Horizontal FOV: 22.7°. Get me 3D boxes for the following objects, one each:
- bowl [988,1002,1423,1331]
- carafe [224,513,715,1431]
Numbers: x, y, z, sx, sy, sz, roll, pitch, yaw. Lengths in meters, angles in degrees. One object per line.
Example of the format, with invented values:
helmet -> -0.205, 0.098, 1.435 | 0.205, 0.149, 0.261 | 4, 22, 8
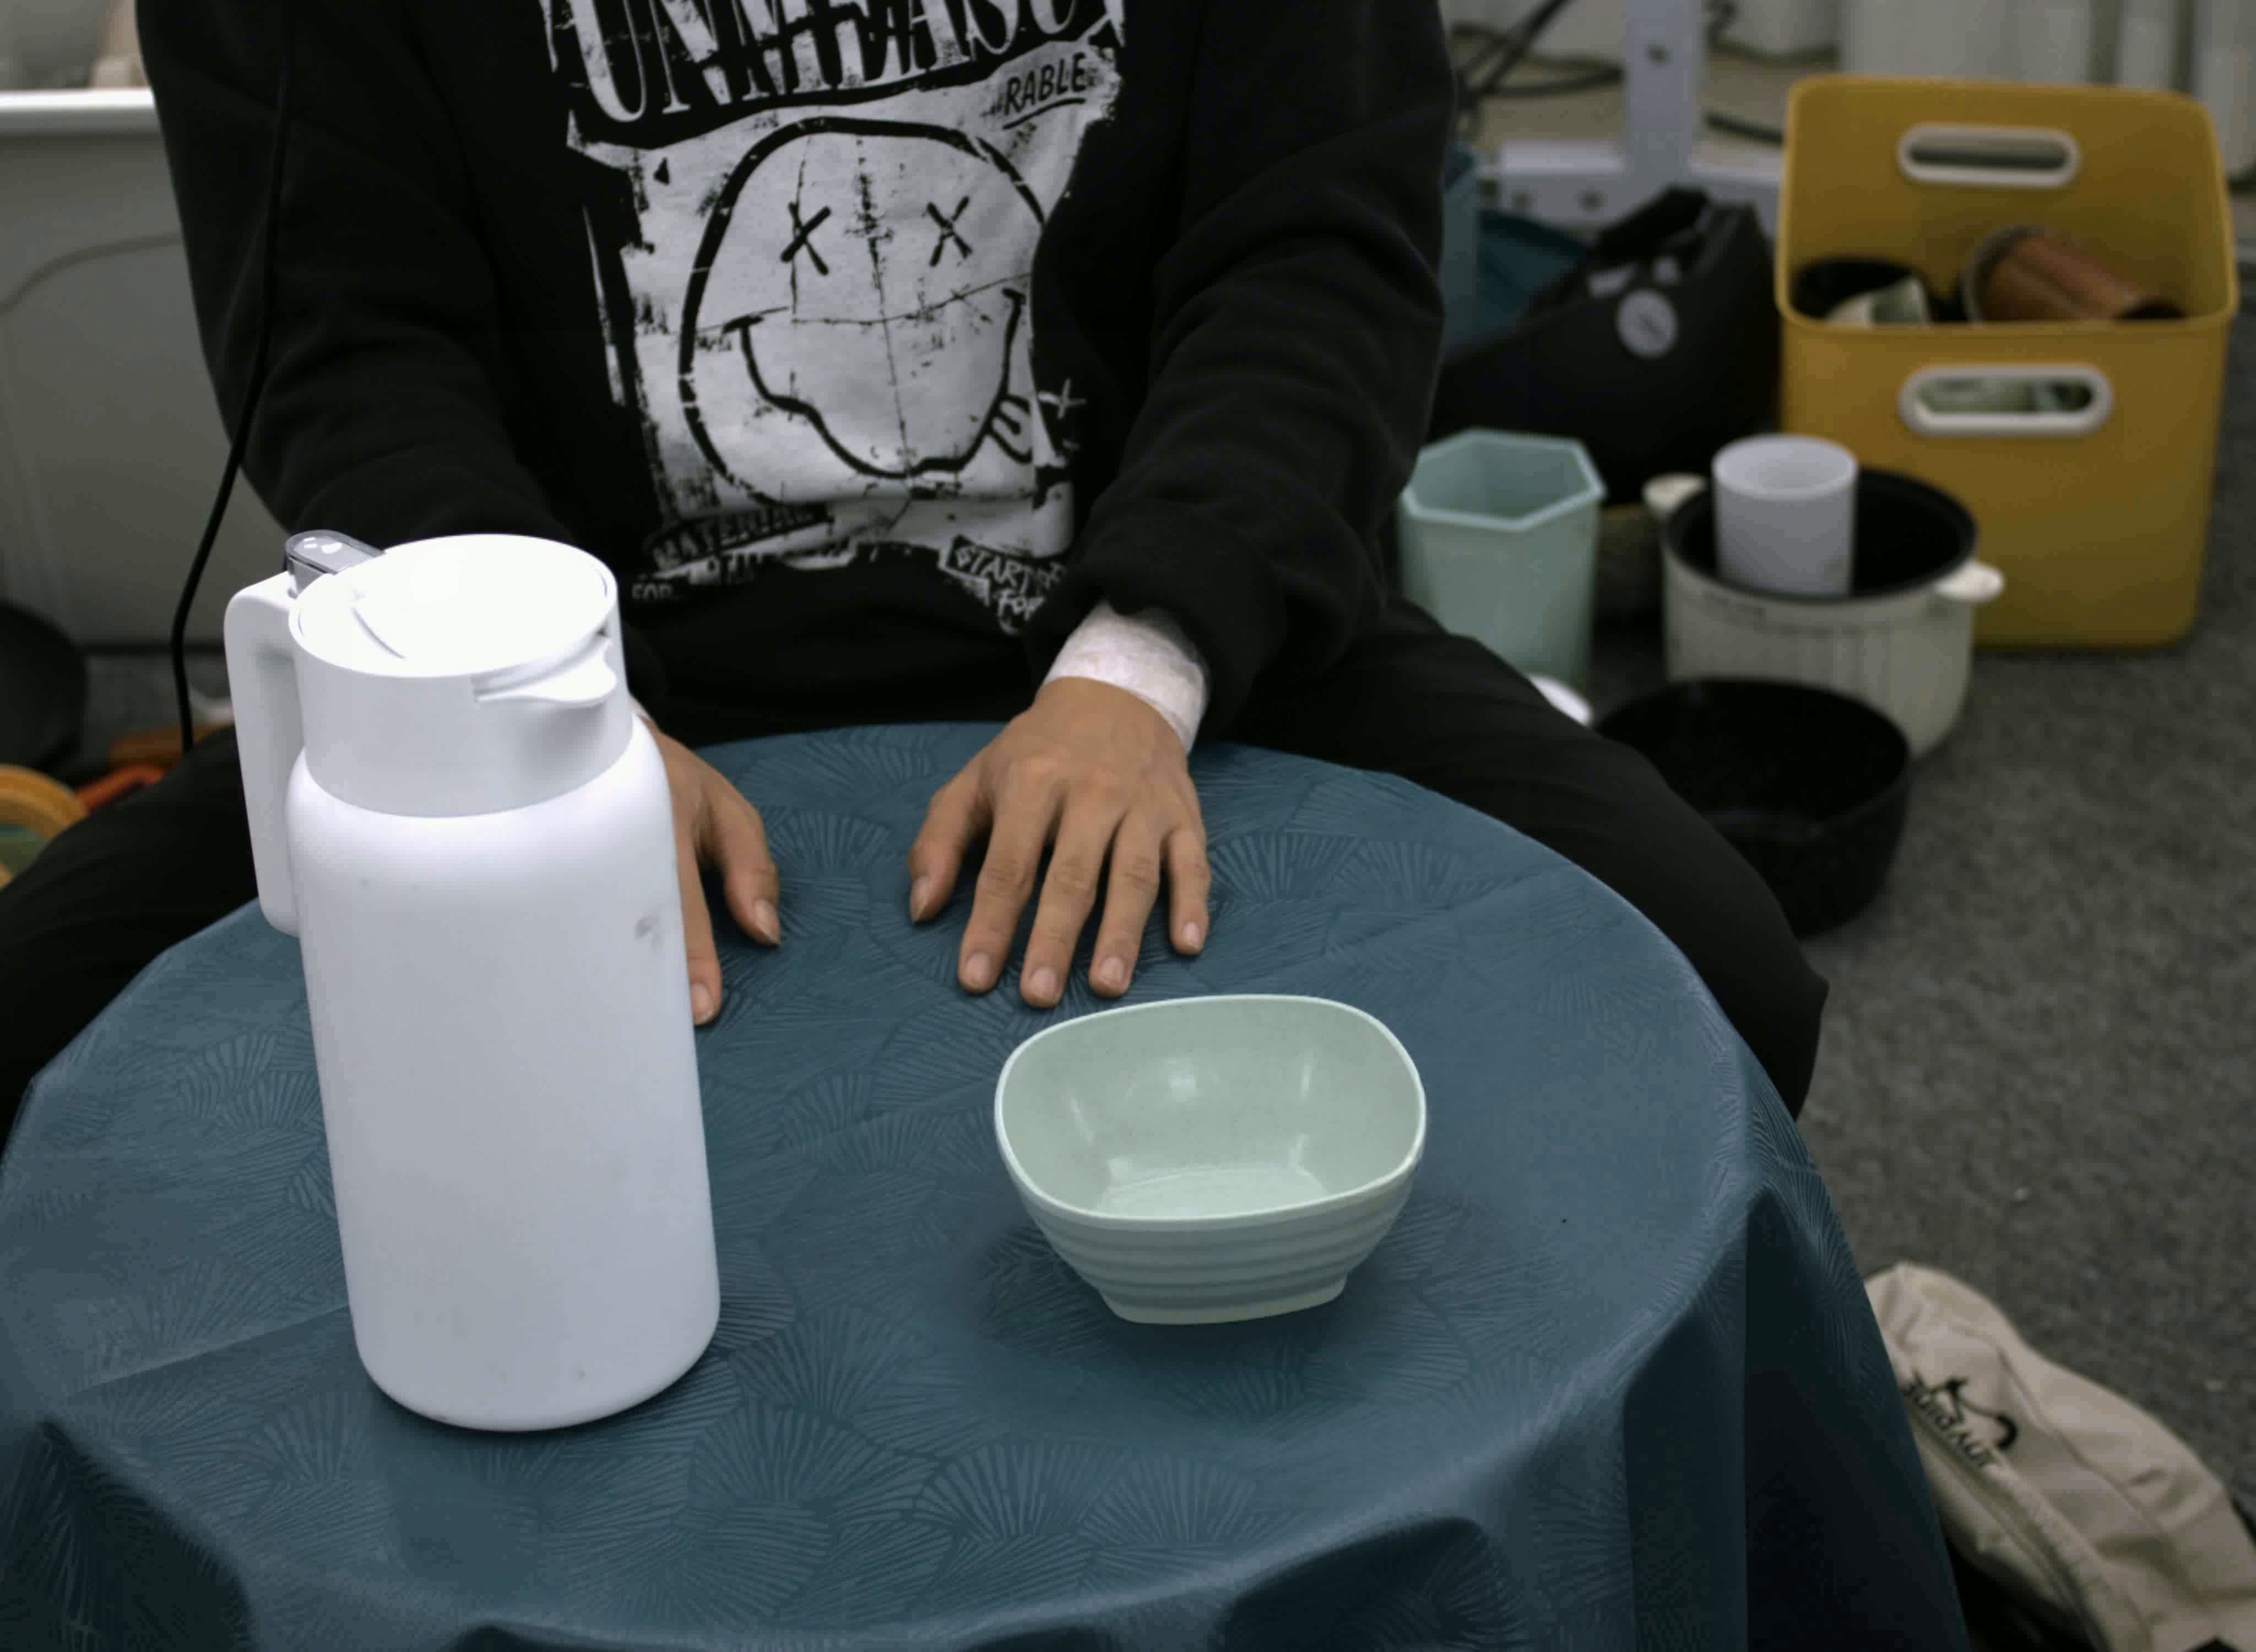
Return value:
bowl -> 0.026, 0.116, 1.811 | 0.151, 0.058, 0.154 | -2, 27, 1
carafe -> -0.208, 0.043, 1.744 | 0.172, 0.266, 0.125 | 20, 37, 39
